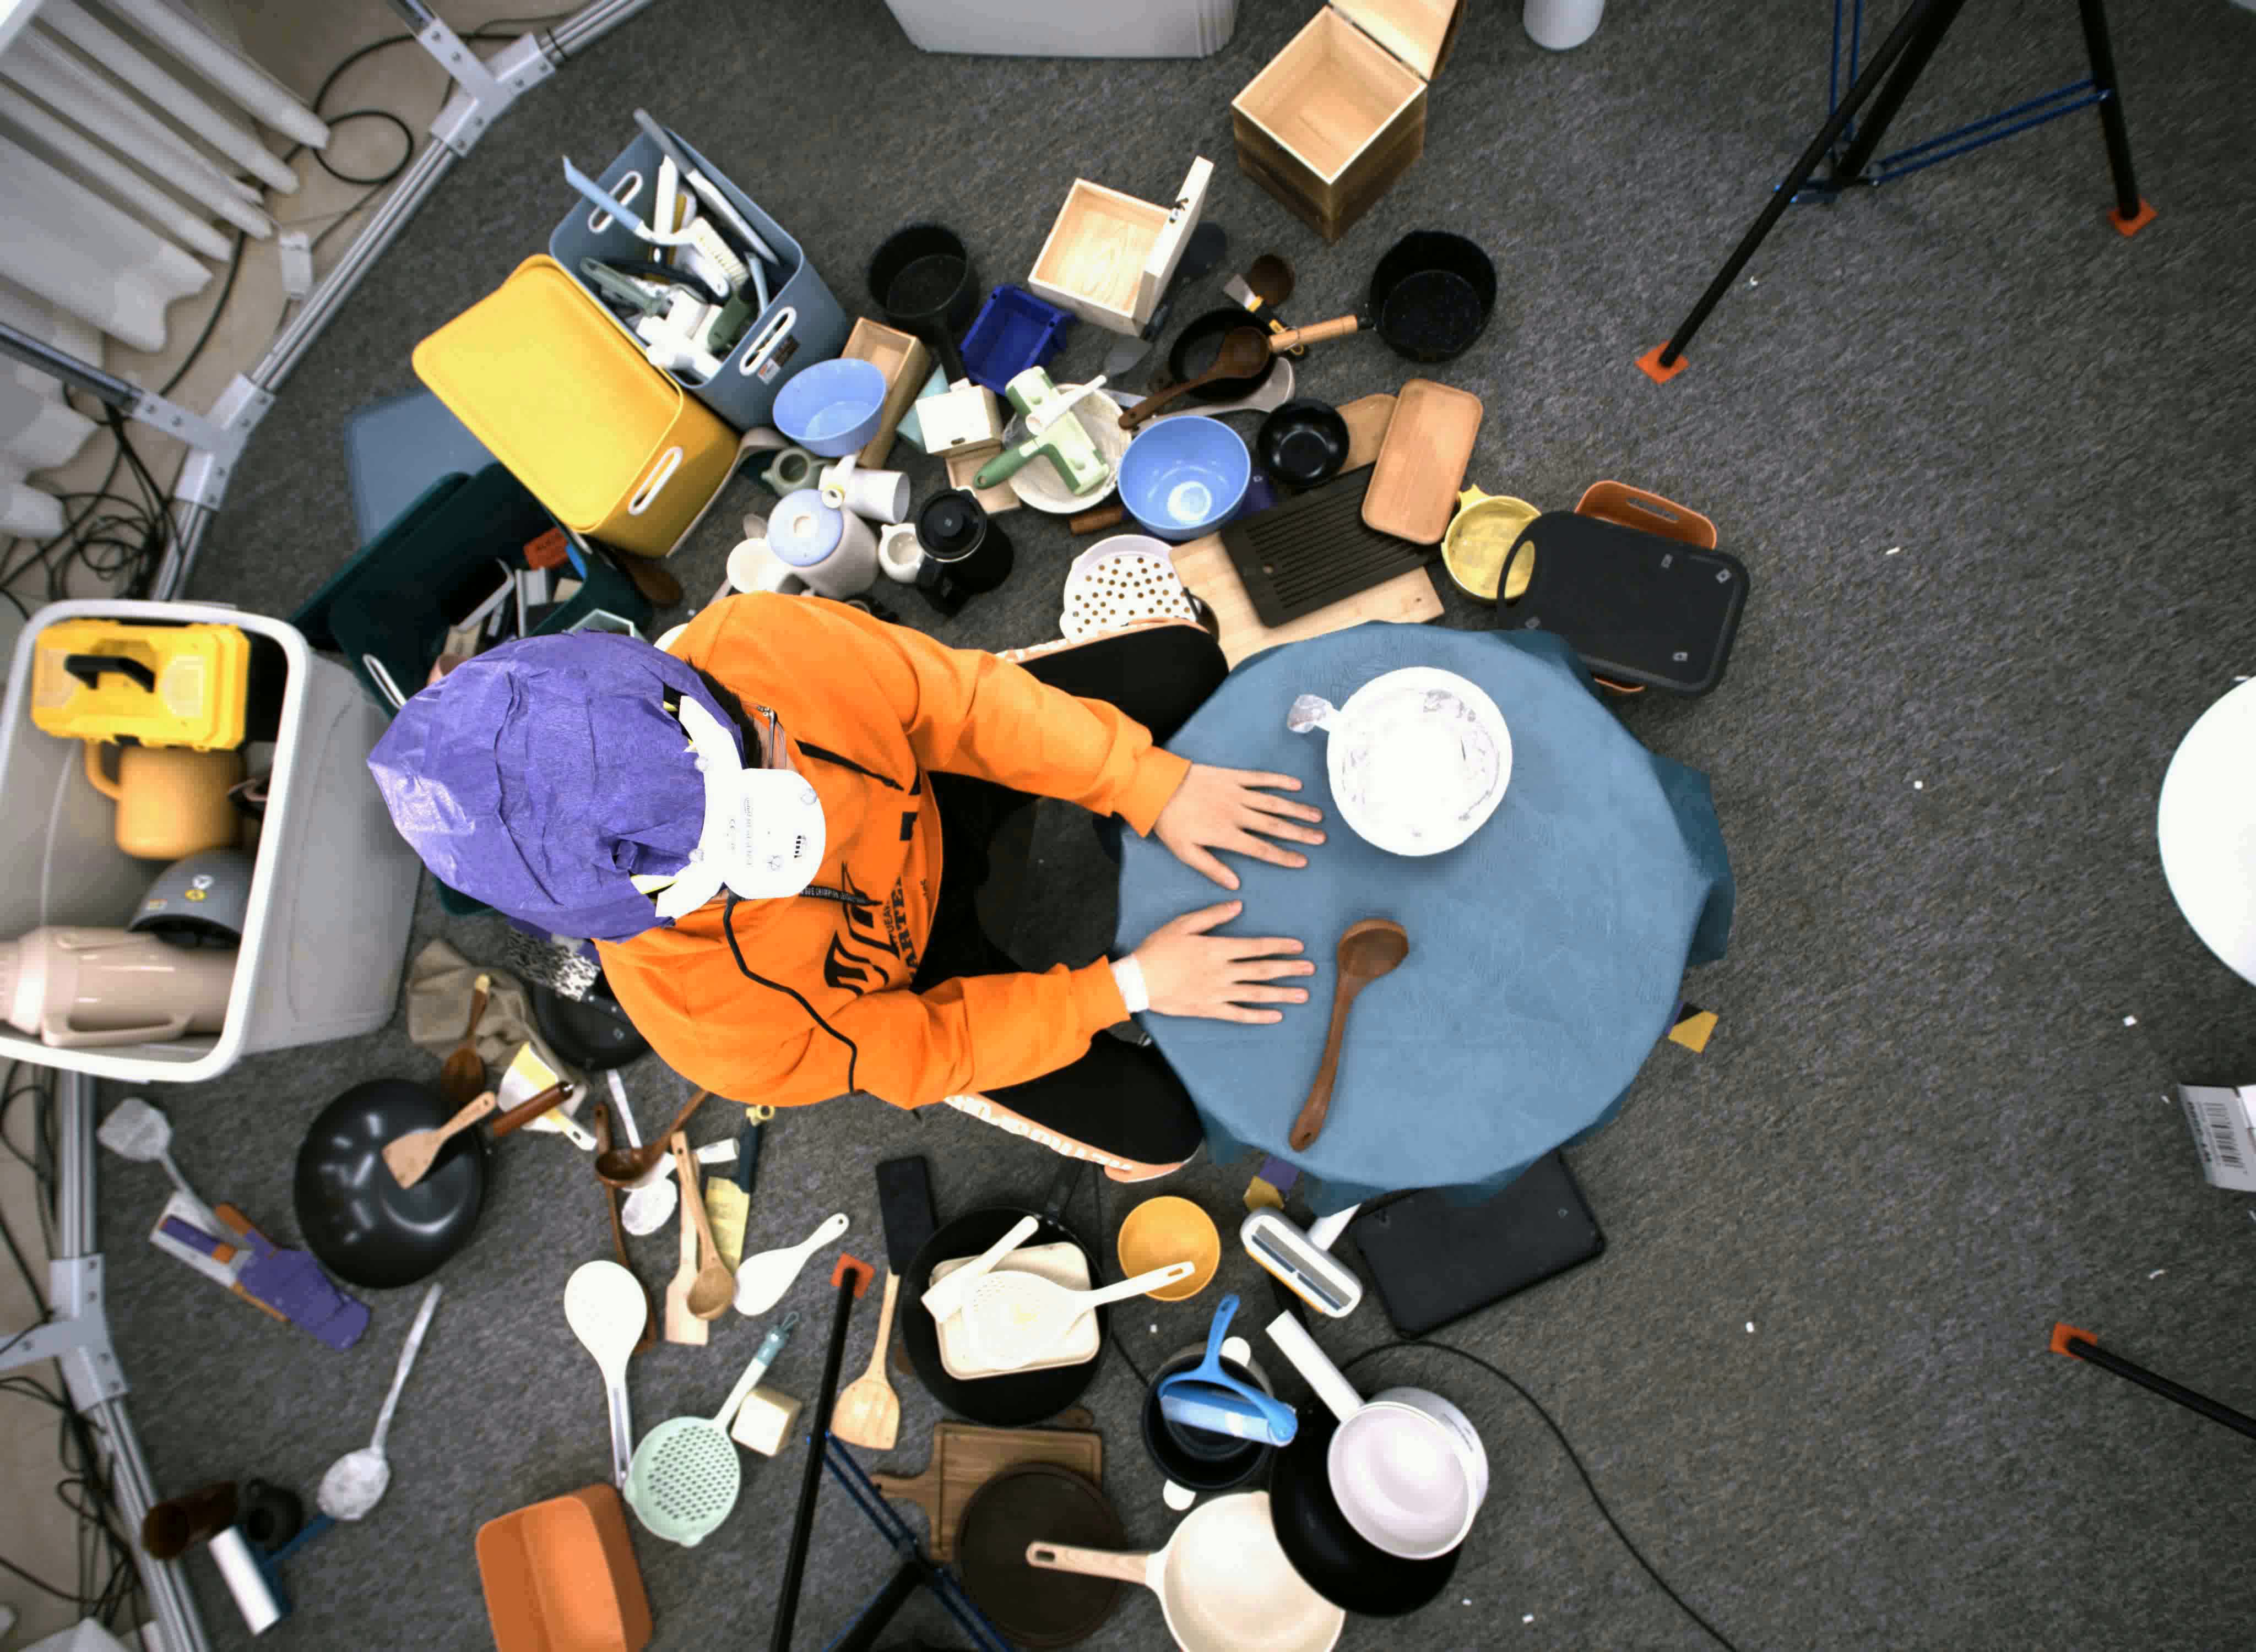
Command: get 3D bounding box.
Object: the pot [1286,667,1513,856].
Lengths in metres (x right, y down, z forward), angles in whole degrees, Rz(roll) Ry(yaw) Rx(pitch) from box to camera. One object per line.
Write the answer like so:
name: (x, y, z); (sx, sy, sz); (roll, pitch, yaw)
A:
pot: (0.268, -0.074, 1.399); (0.233, 0.137, 0.179); (26, 90, 11)

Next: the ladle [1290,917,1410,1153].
ladle: (0.223, 0.217, 1.430); (0.076, 0.065, 0.260); (18, 89, -15)
